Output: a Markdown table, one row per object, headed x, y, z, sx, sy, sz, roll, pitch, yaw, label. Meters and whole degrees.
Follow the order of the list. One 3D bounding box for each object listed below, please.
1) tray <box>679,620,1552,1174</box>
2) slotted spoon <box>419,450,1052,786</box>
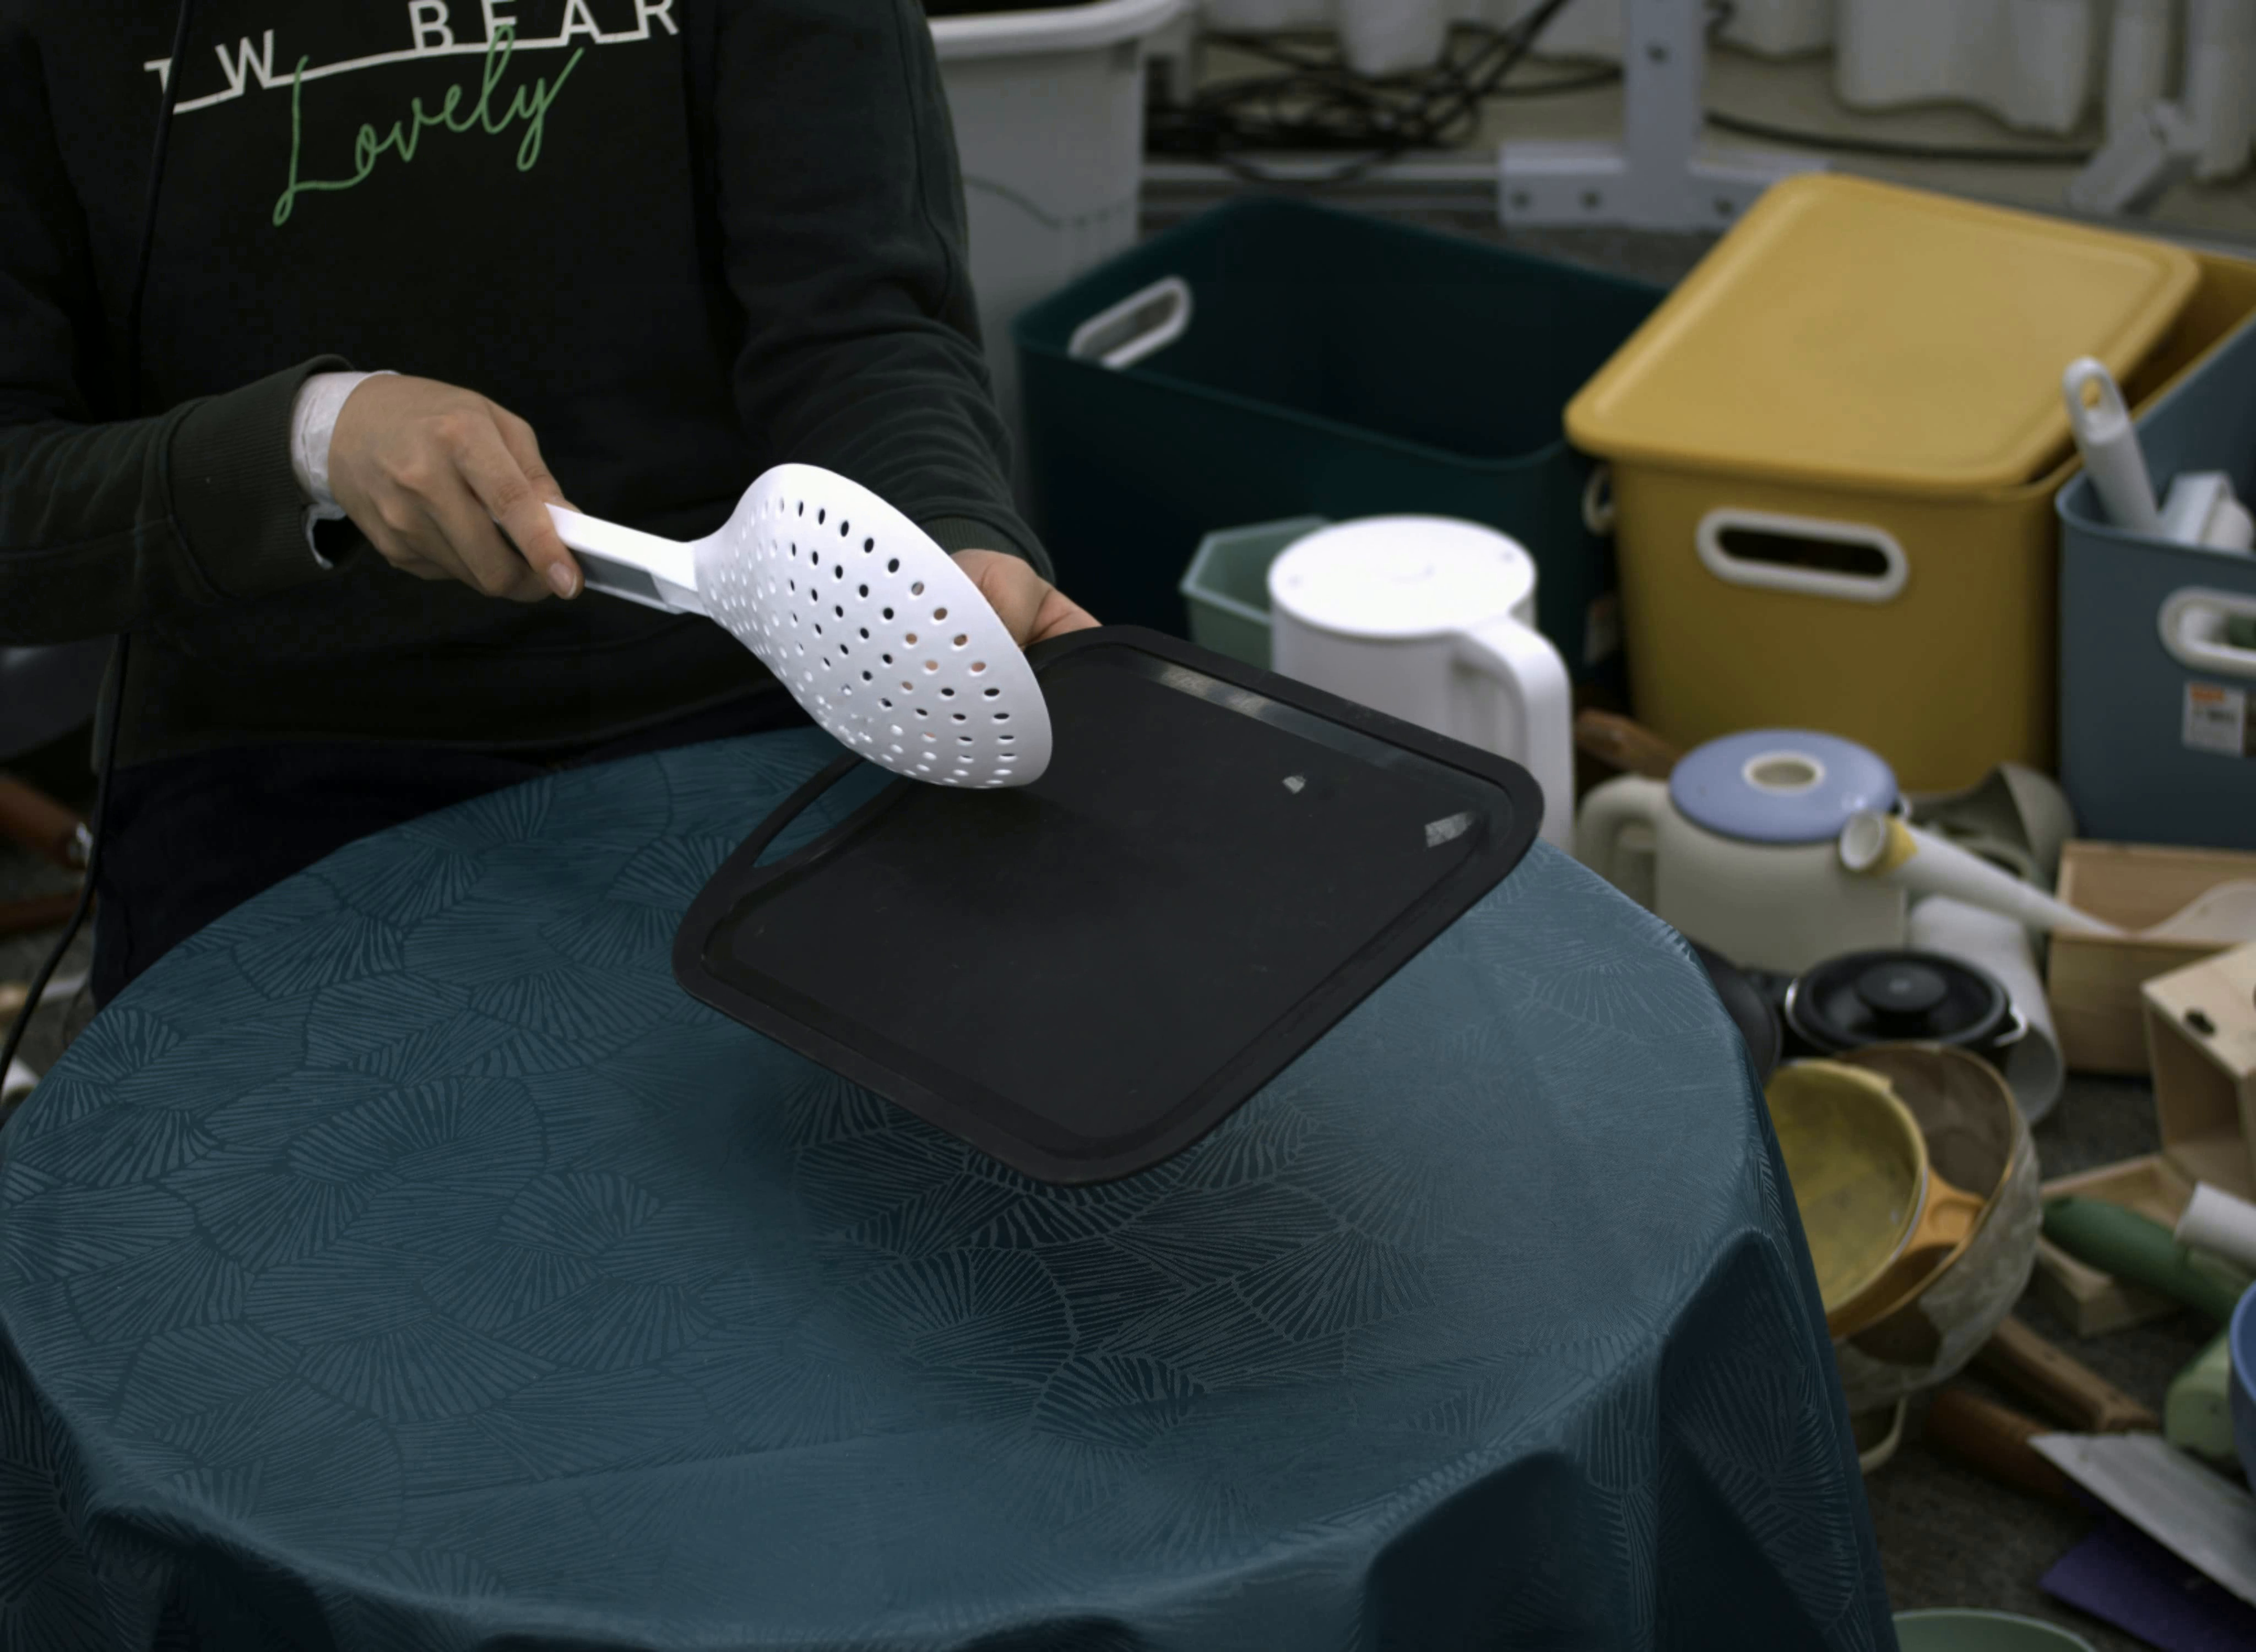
| x | y | z | sx | sy | sz | roll | pitch | yaw | label |
| --- | --- | --- | --- | --- | --- | --- | --- | --- | --- |
| -0.016 | 0.015 | 1.834 | 0.213 | 0.010 | 0.325 | -39 | 31 | -19 | tray |
| -0.147 | -0.085 | 1.955 | 0.046 | 0.135 | 0.349 | -38 | 32 | -21 | slotted spoon |
